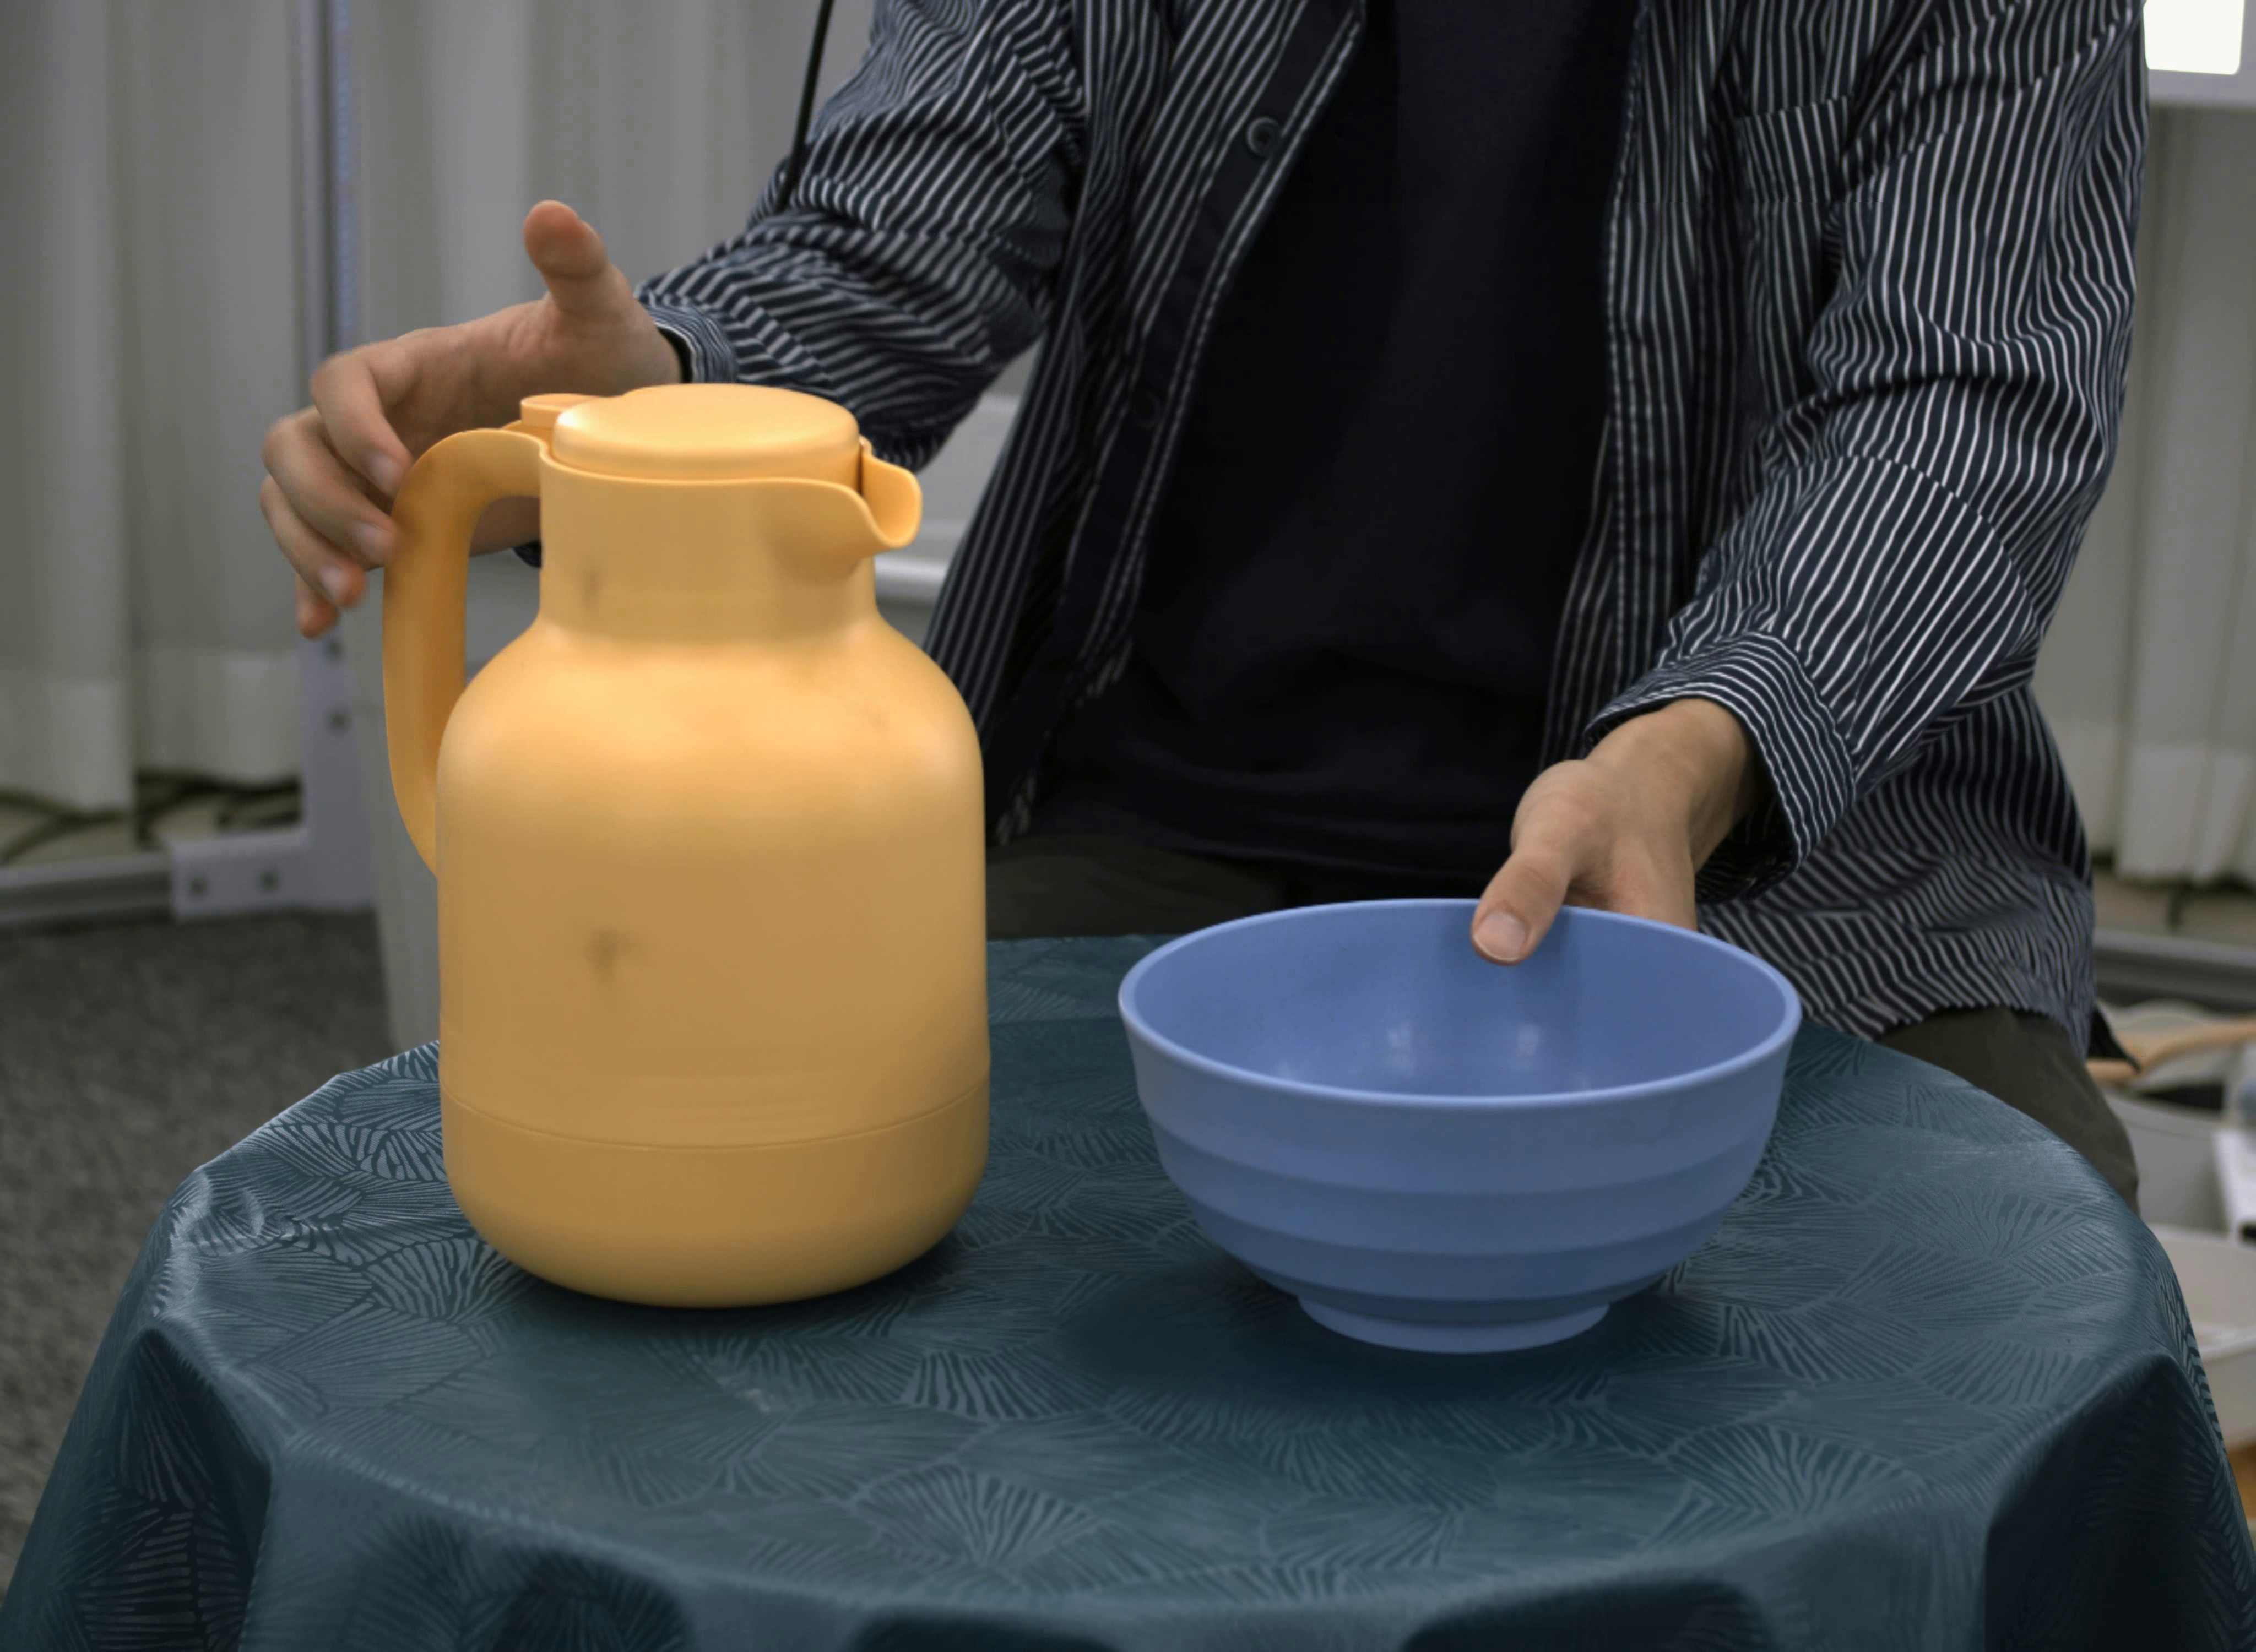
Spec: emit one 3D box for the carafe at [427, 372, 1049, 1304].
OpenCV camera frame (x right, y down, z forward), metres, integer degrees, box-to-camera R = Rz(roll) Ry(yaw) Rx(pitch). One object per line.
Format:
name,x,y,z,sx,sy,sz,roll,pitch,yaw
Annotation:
carafe,-0.121,-0.004,1.554,0.200,0.262,0.164,11,19,35

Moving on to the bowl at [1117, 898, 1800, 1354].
bowl,0.094,0.093,1.526,0.196,0.096,0.195,1,16,0
